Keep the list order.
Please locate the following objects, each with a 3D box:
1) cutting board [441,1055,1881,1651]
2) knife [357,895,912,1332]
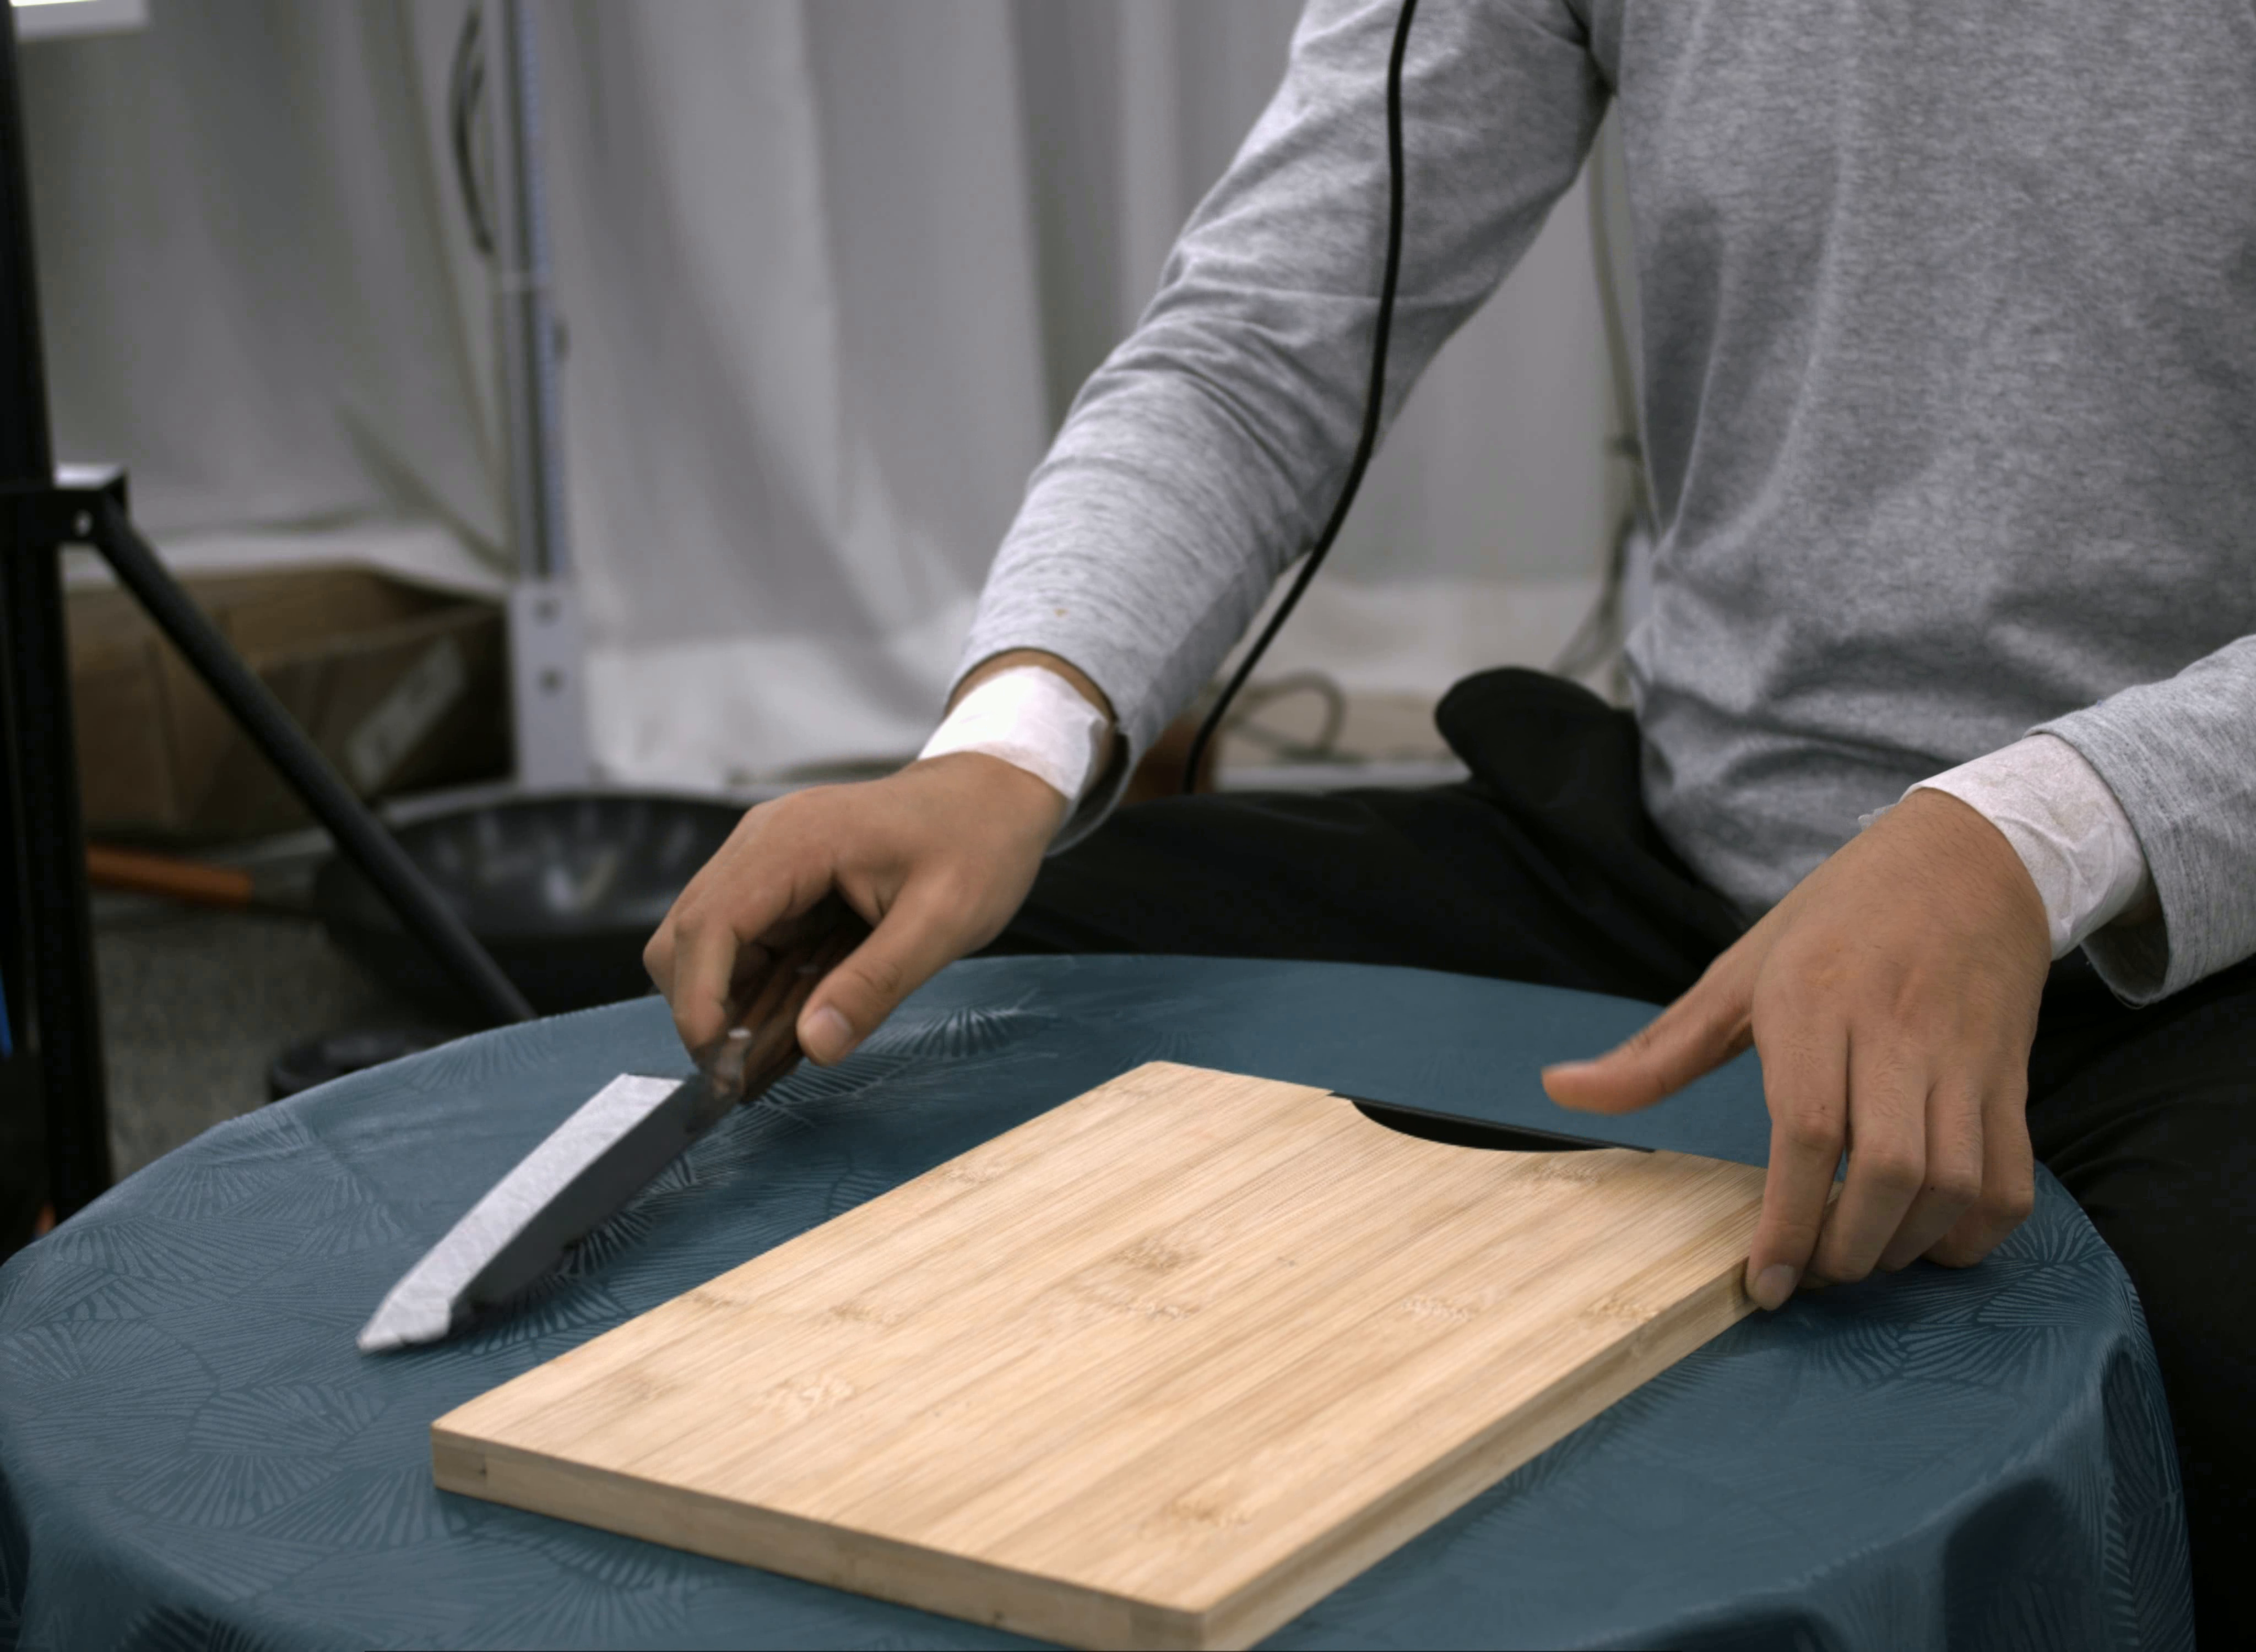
[{"bbox_3d":[0.016,0.136,1.433,0.256,0.023,0.342,9,19,33],"label":"cutting board"},{"bbox_3d":[-0.140,0.084,1.570,0.051,0.020,0.285,3,24,29],"label":"knife"}]
